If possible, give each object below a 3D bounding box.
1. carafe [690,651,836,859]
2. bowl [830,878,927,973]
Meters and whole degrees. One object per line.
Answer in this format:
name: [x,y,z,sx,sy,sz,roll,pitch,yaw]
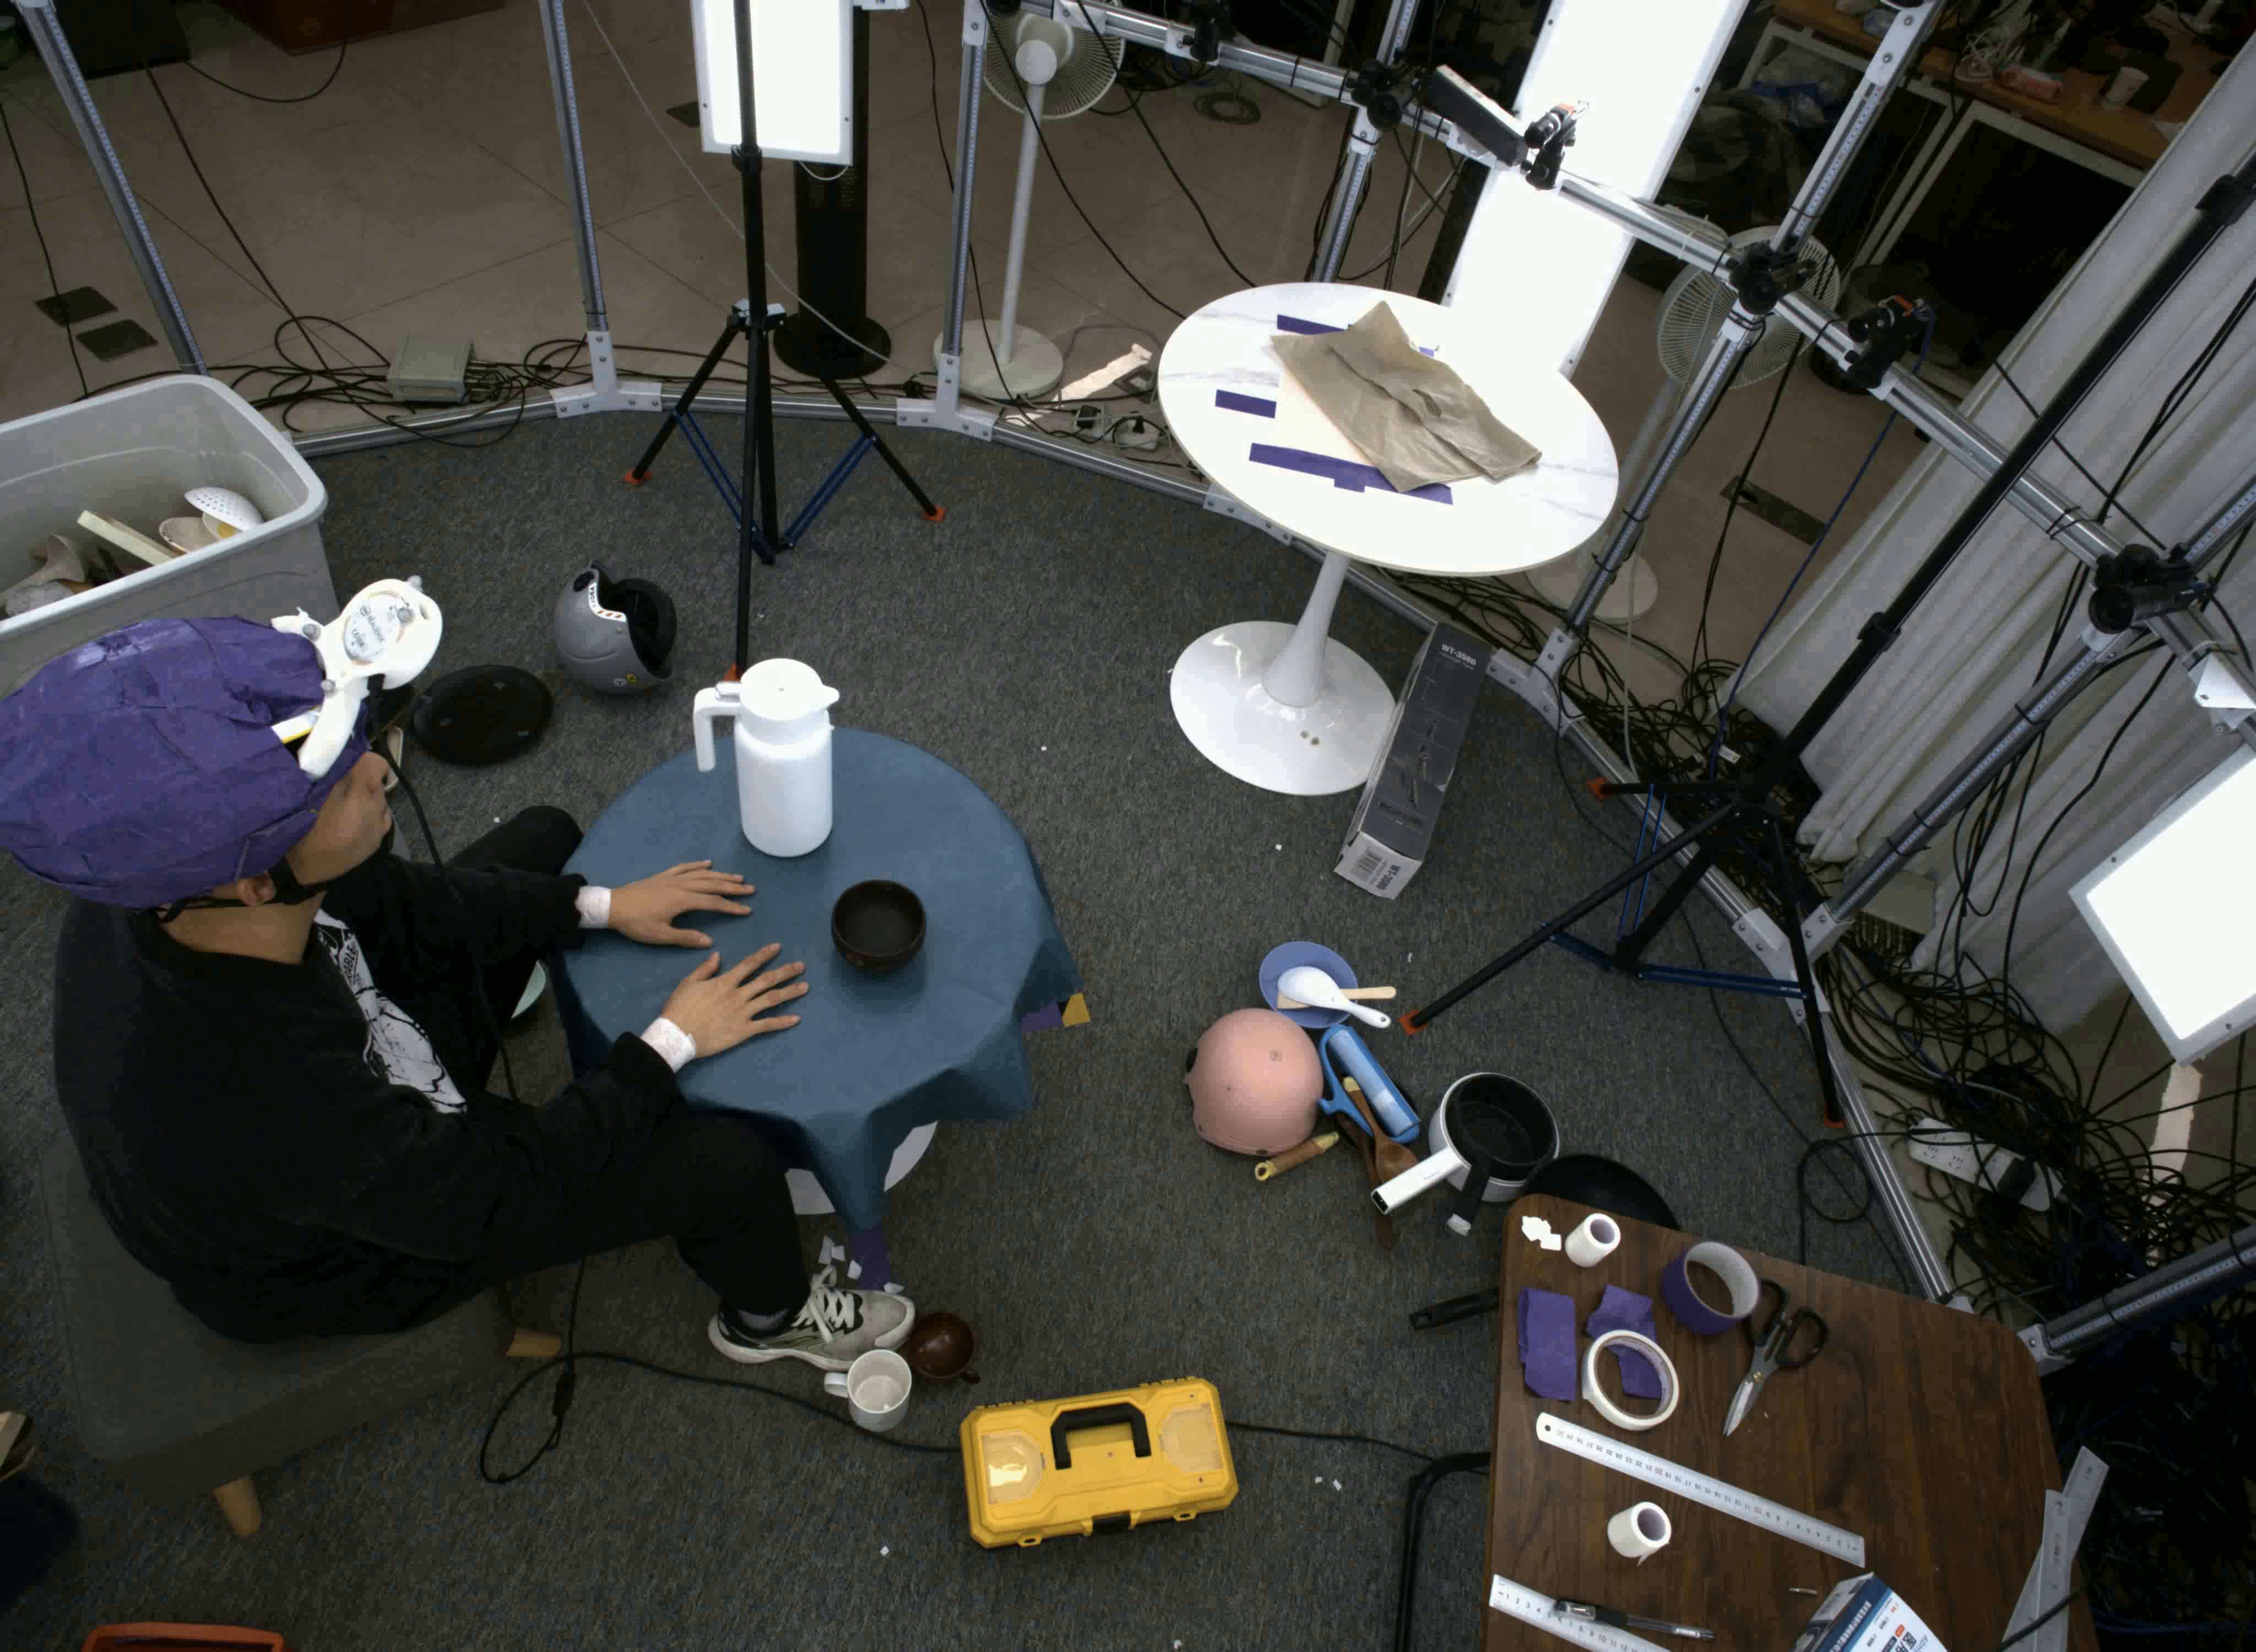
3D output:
carafe: [-0.448,-0.084,1.605,0.173,0.274,0.121,-2,54,-14]
bowl: [-0.309,0.129,1.607,0.118,0.071,0.116,9,51,-9]
